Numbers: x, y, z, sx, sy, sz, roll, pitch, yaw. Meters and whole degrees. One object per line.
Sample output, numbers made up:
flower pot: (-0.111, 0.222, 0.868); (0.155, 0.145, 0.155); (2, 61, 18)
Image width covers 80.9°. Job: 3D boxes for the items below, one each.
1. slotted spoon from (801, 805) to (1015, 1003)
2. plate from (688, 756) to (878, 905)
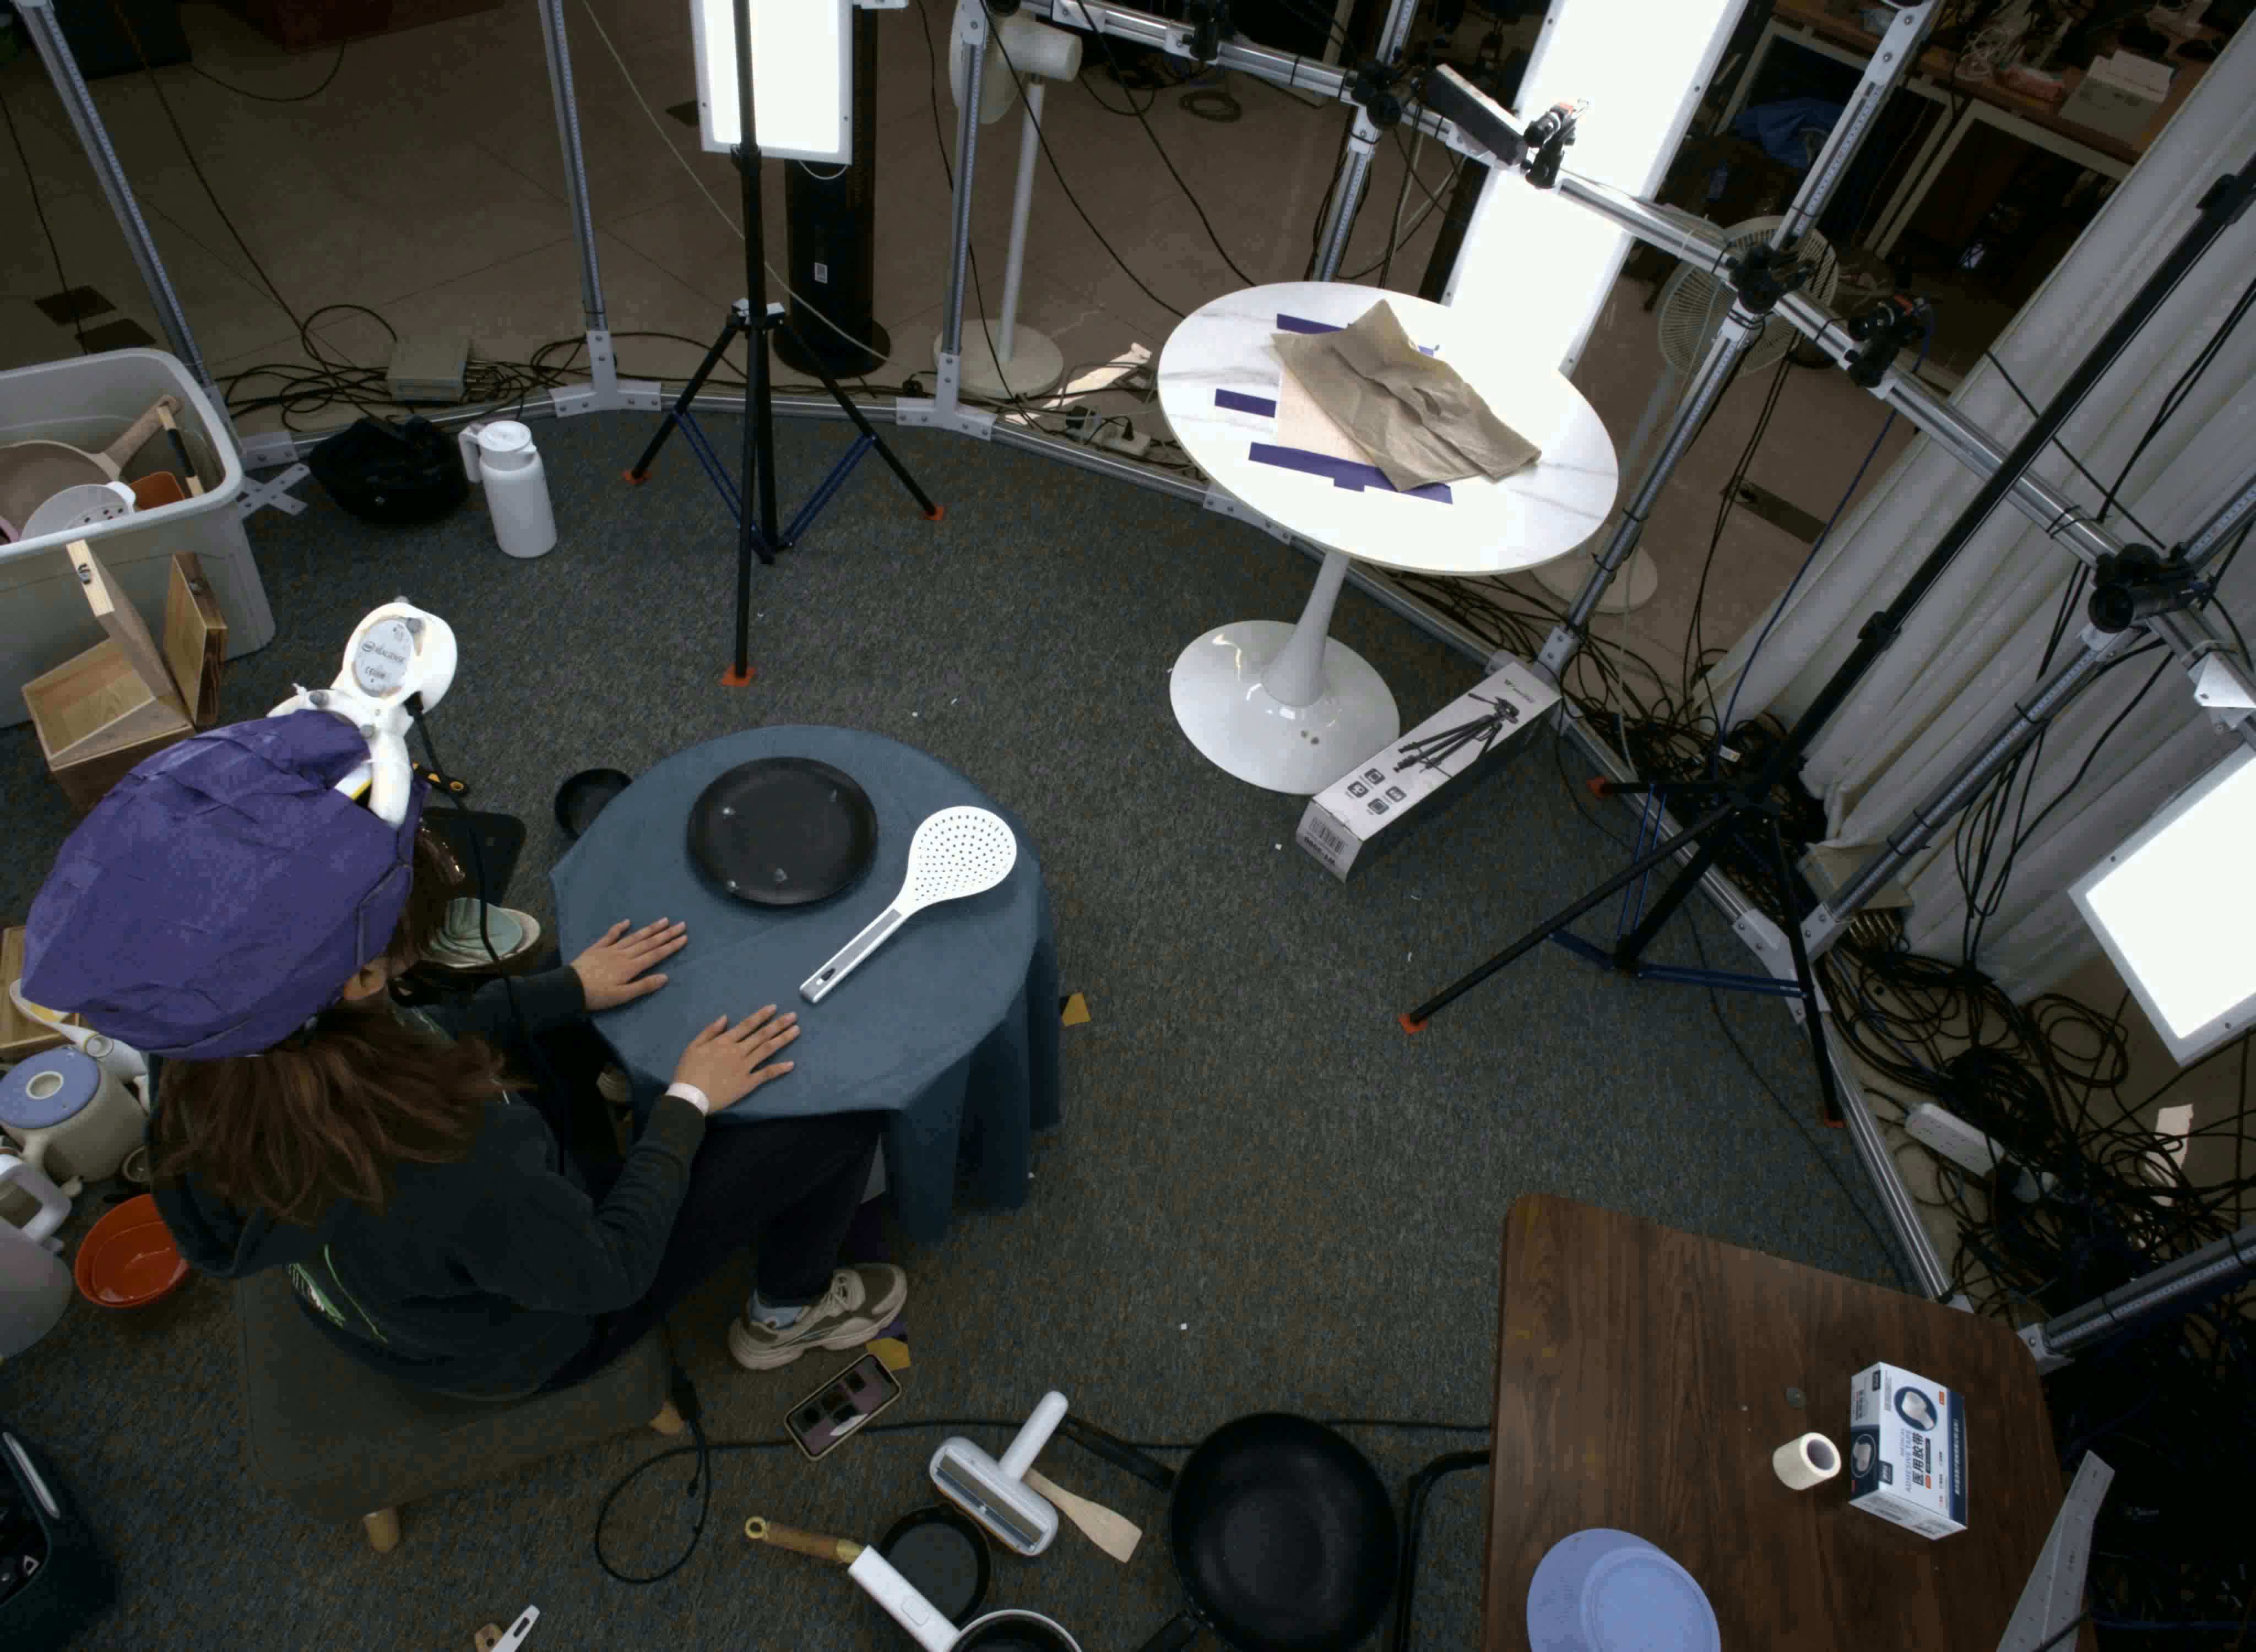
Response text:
slotted spoon: (-0.283, 0.099, 1.663); (0.133, 0.047, 0.350); (36, 54, 16)
plate: (-0.452, 0.007, 1.702); (0.244, 0.024, 0.240); (8, 52, -9)
